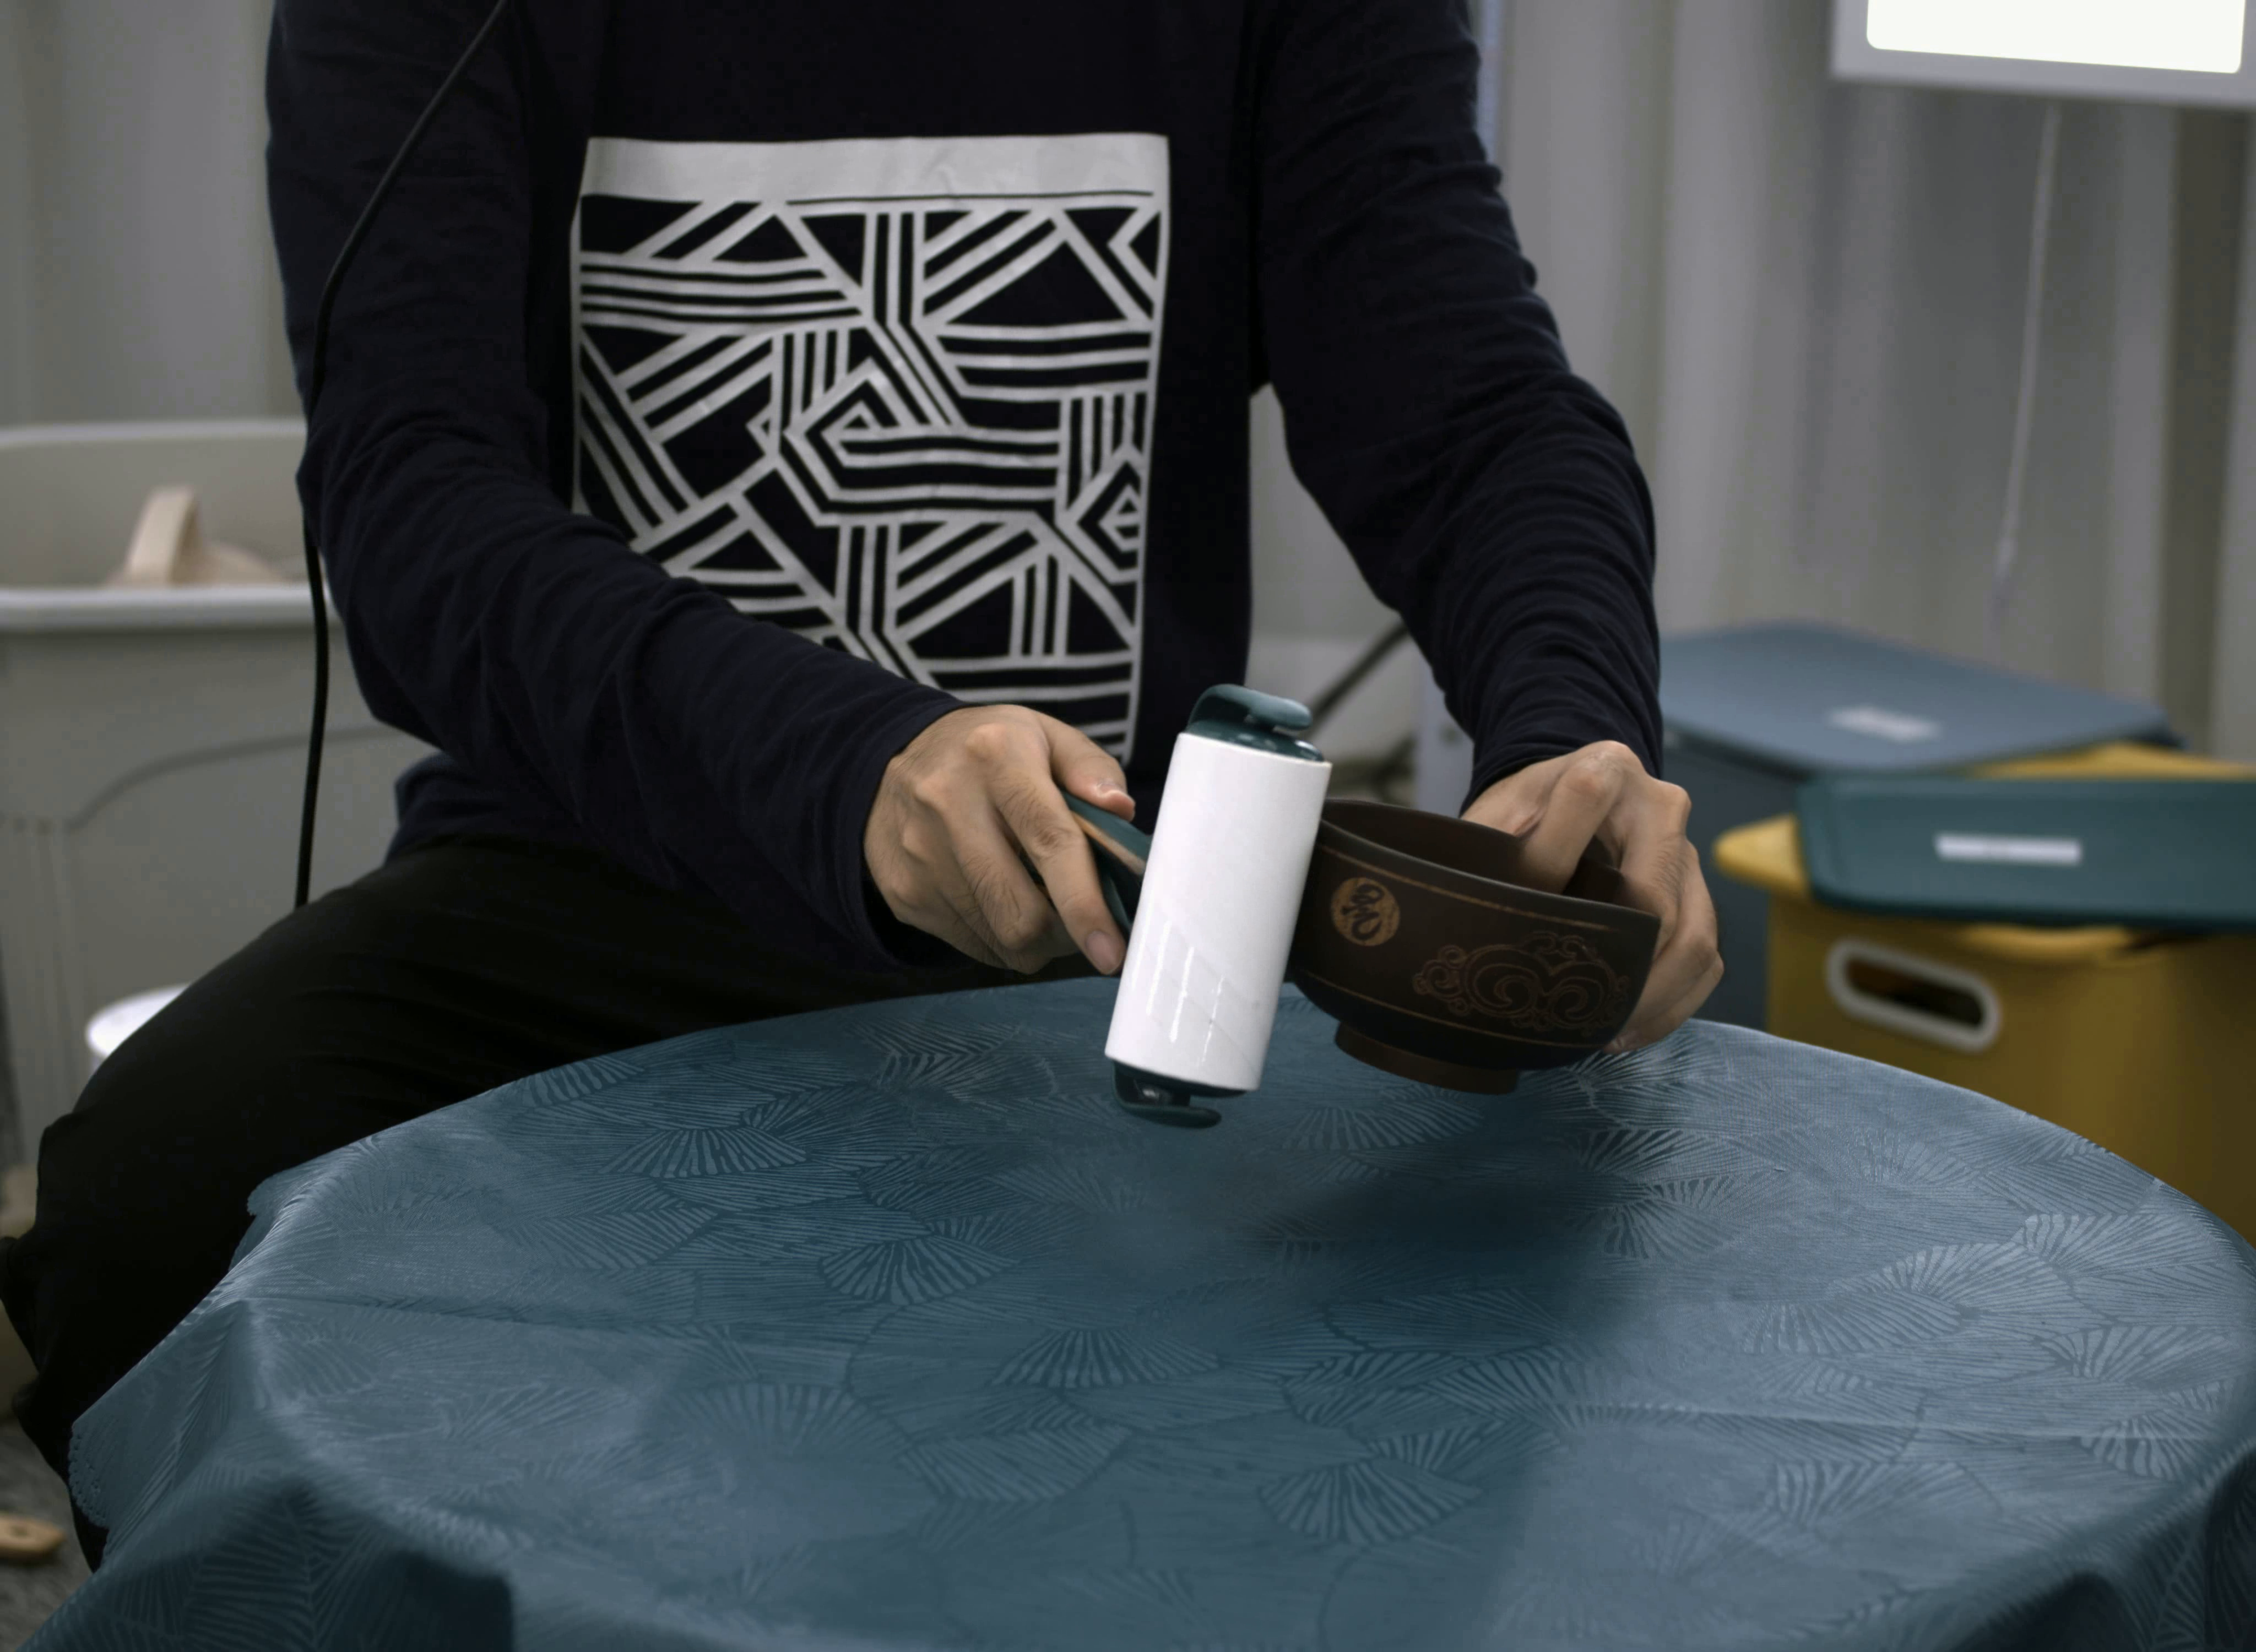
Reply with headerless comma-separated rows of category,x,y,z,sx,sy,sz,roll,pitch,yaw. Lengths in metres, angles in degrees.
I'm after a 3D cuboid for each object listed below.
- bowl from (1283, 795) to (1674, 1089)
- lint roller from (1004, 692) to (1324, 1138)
bowl,0.101,0.038,1.586,0.118,0.070,0.118,13,7,-1
lint roller,-0.009,0.016,1.611,0.049,0.135,0.178,9,5,-33
